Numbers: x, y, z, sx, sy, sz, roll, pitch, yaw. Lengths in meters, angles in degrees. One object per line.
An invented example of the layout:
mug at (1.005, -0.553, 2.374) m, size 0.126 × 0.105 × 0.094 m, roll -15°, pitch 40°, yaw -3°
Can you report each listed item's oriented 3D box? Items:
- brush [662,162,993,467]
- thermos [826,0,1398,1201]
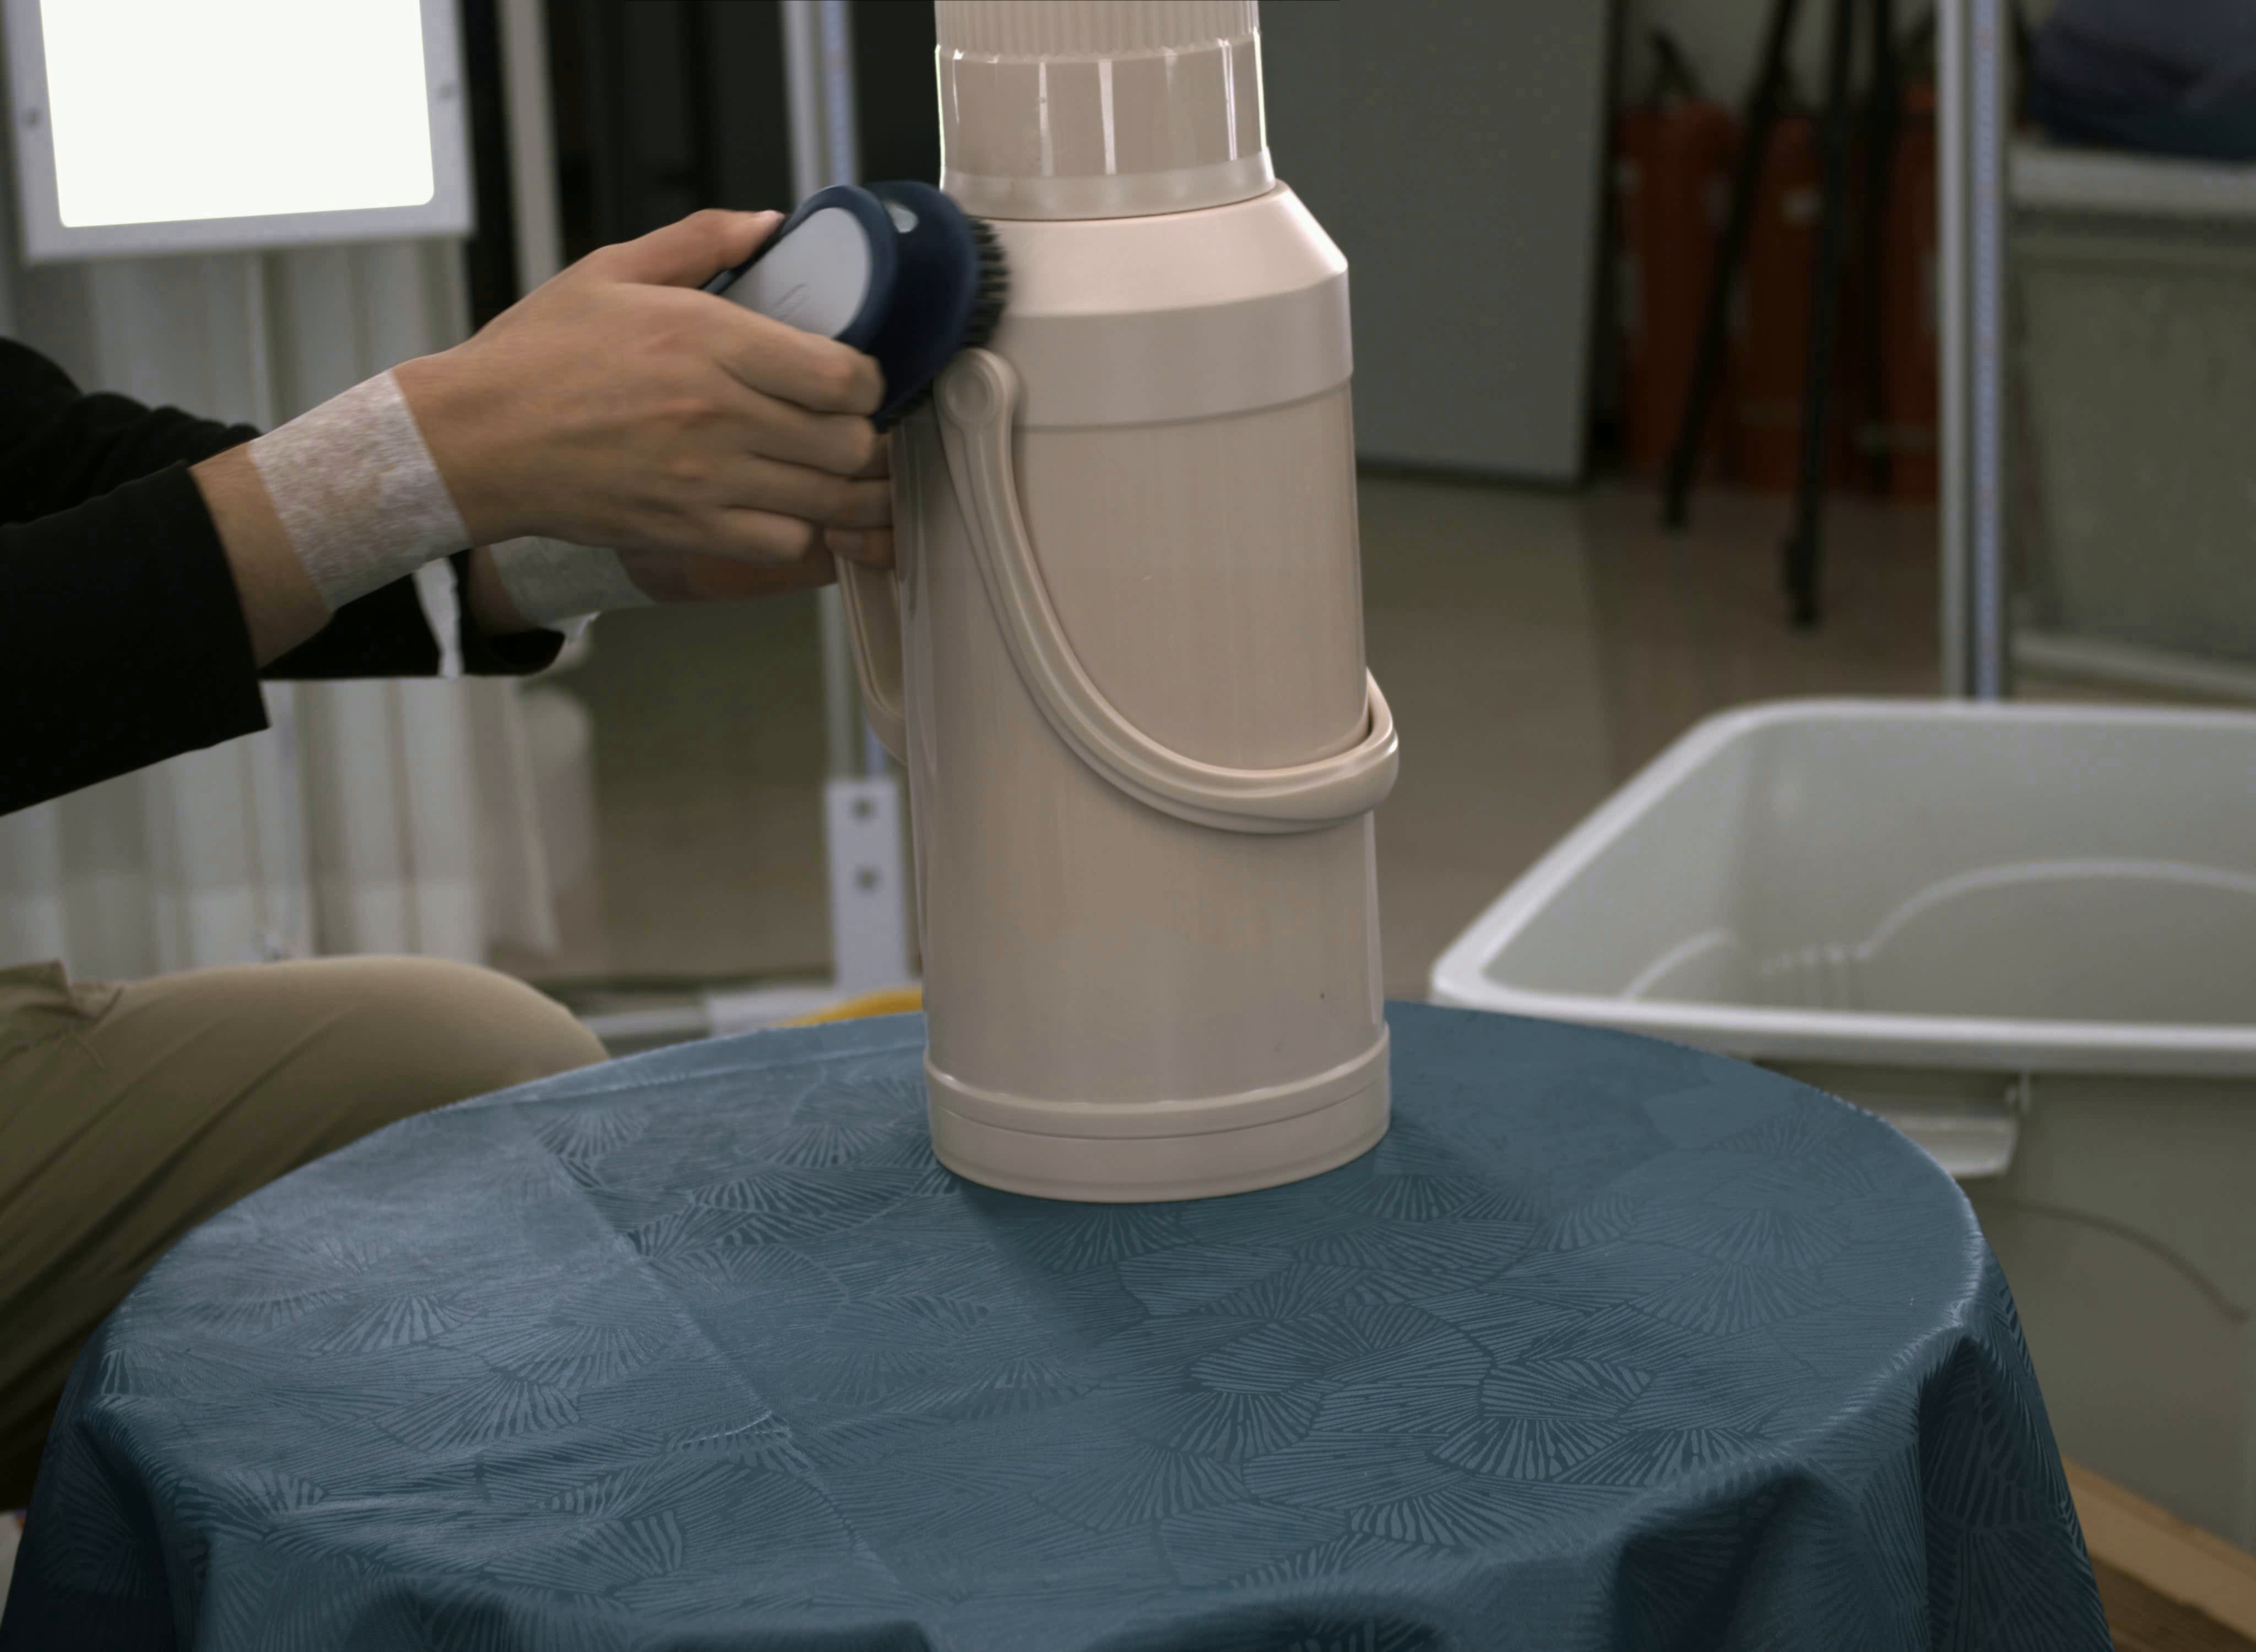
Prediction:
brush at (-0.094, -0.162, 1.719) m, size 0.060 × 0.069 × 0.123 m, roll 6°, pitch -31°, yaw -41°
thermos at (-0.011, -0.091, 1.798) m, size 0.208 × 0.410 × 0.172 m, roll 5°, pitch 17°, yaw 33°
